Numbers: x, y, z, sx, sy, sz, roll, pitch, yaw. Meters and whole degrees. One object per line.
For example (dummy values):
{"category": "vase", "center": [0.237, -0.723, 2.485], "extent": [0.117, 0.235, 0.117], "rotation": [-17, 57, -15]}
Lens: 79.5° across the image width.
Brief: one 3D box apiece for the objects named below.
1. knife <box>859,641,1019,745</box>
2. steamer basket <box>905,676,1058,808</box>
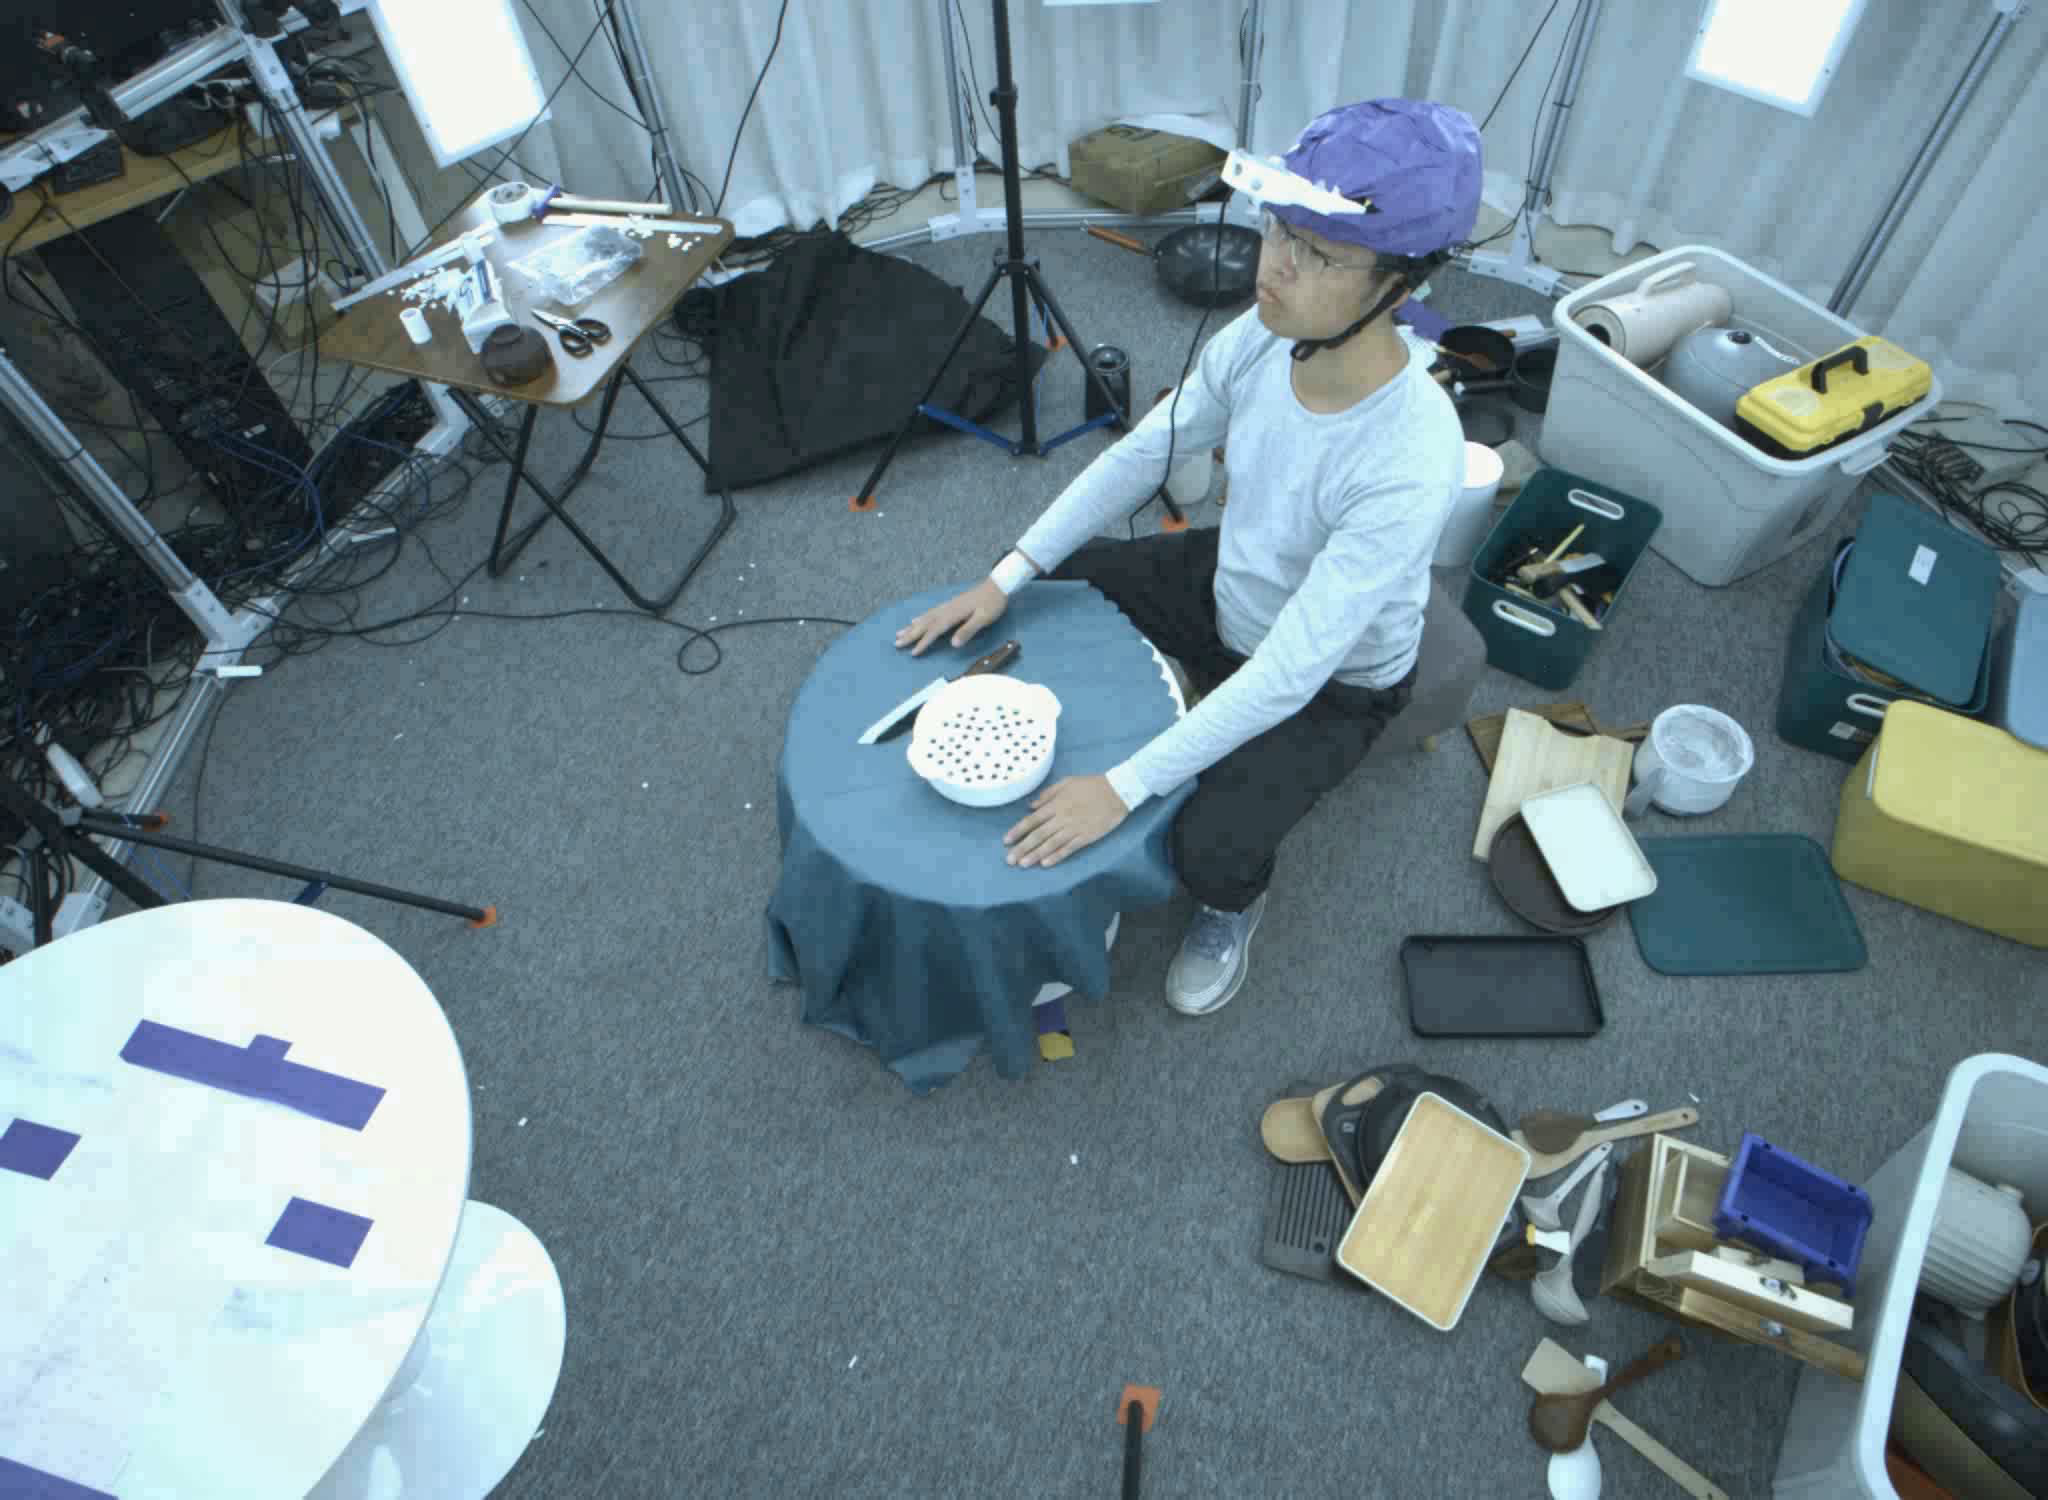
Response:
{"category": "knife", "center": [-0.127, -0.086, 1.850], "extent": [0.291, 0.020, 0.049], "rotation": [-34, 55, -18]}
{"category": "steamer basket", "center": [-0.058, -0.010, 1.762], "extent": [0.232, 0.070, 0.198], "rotation": [-27, 59, -17]}
